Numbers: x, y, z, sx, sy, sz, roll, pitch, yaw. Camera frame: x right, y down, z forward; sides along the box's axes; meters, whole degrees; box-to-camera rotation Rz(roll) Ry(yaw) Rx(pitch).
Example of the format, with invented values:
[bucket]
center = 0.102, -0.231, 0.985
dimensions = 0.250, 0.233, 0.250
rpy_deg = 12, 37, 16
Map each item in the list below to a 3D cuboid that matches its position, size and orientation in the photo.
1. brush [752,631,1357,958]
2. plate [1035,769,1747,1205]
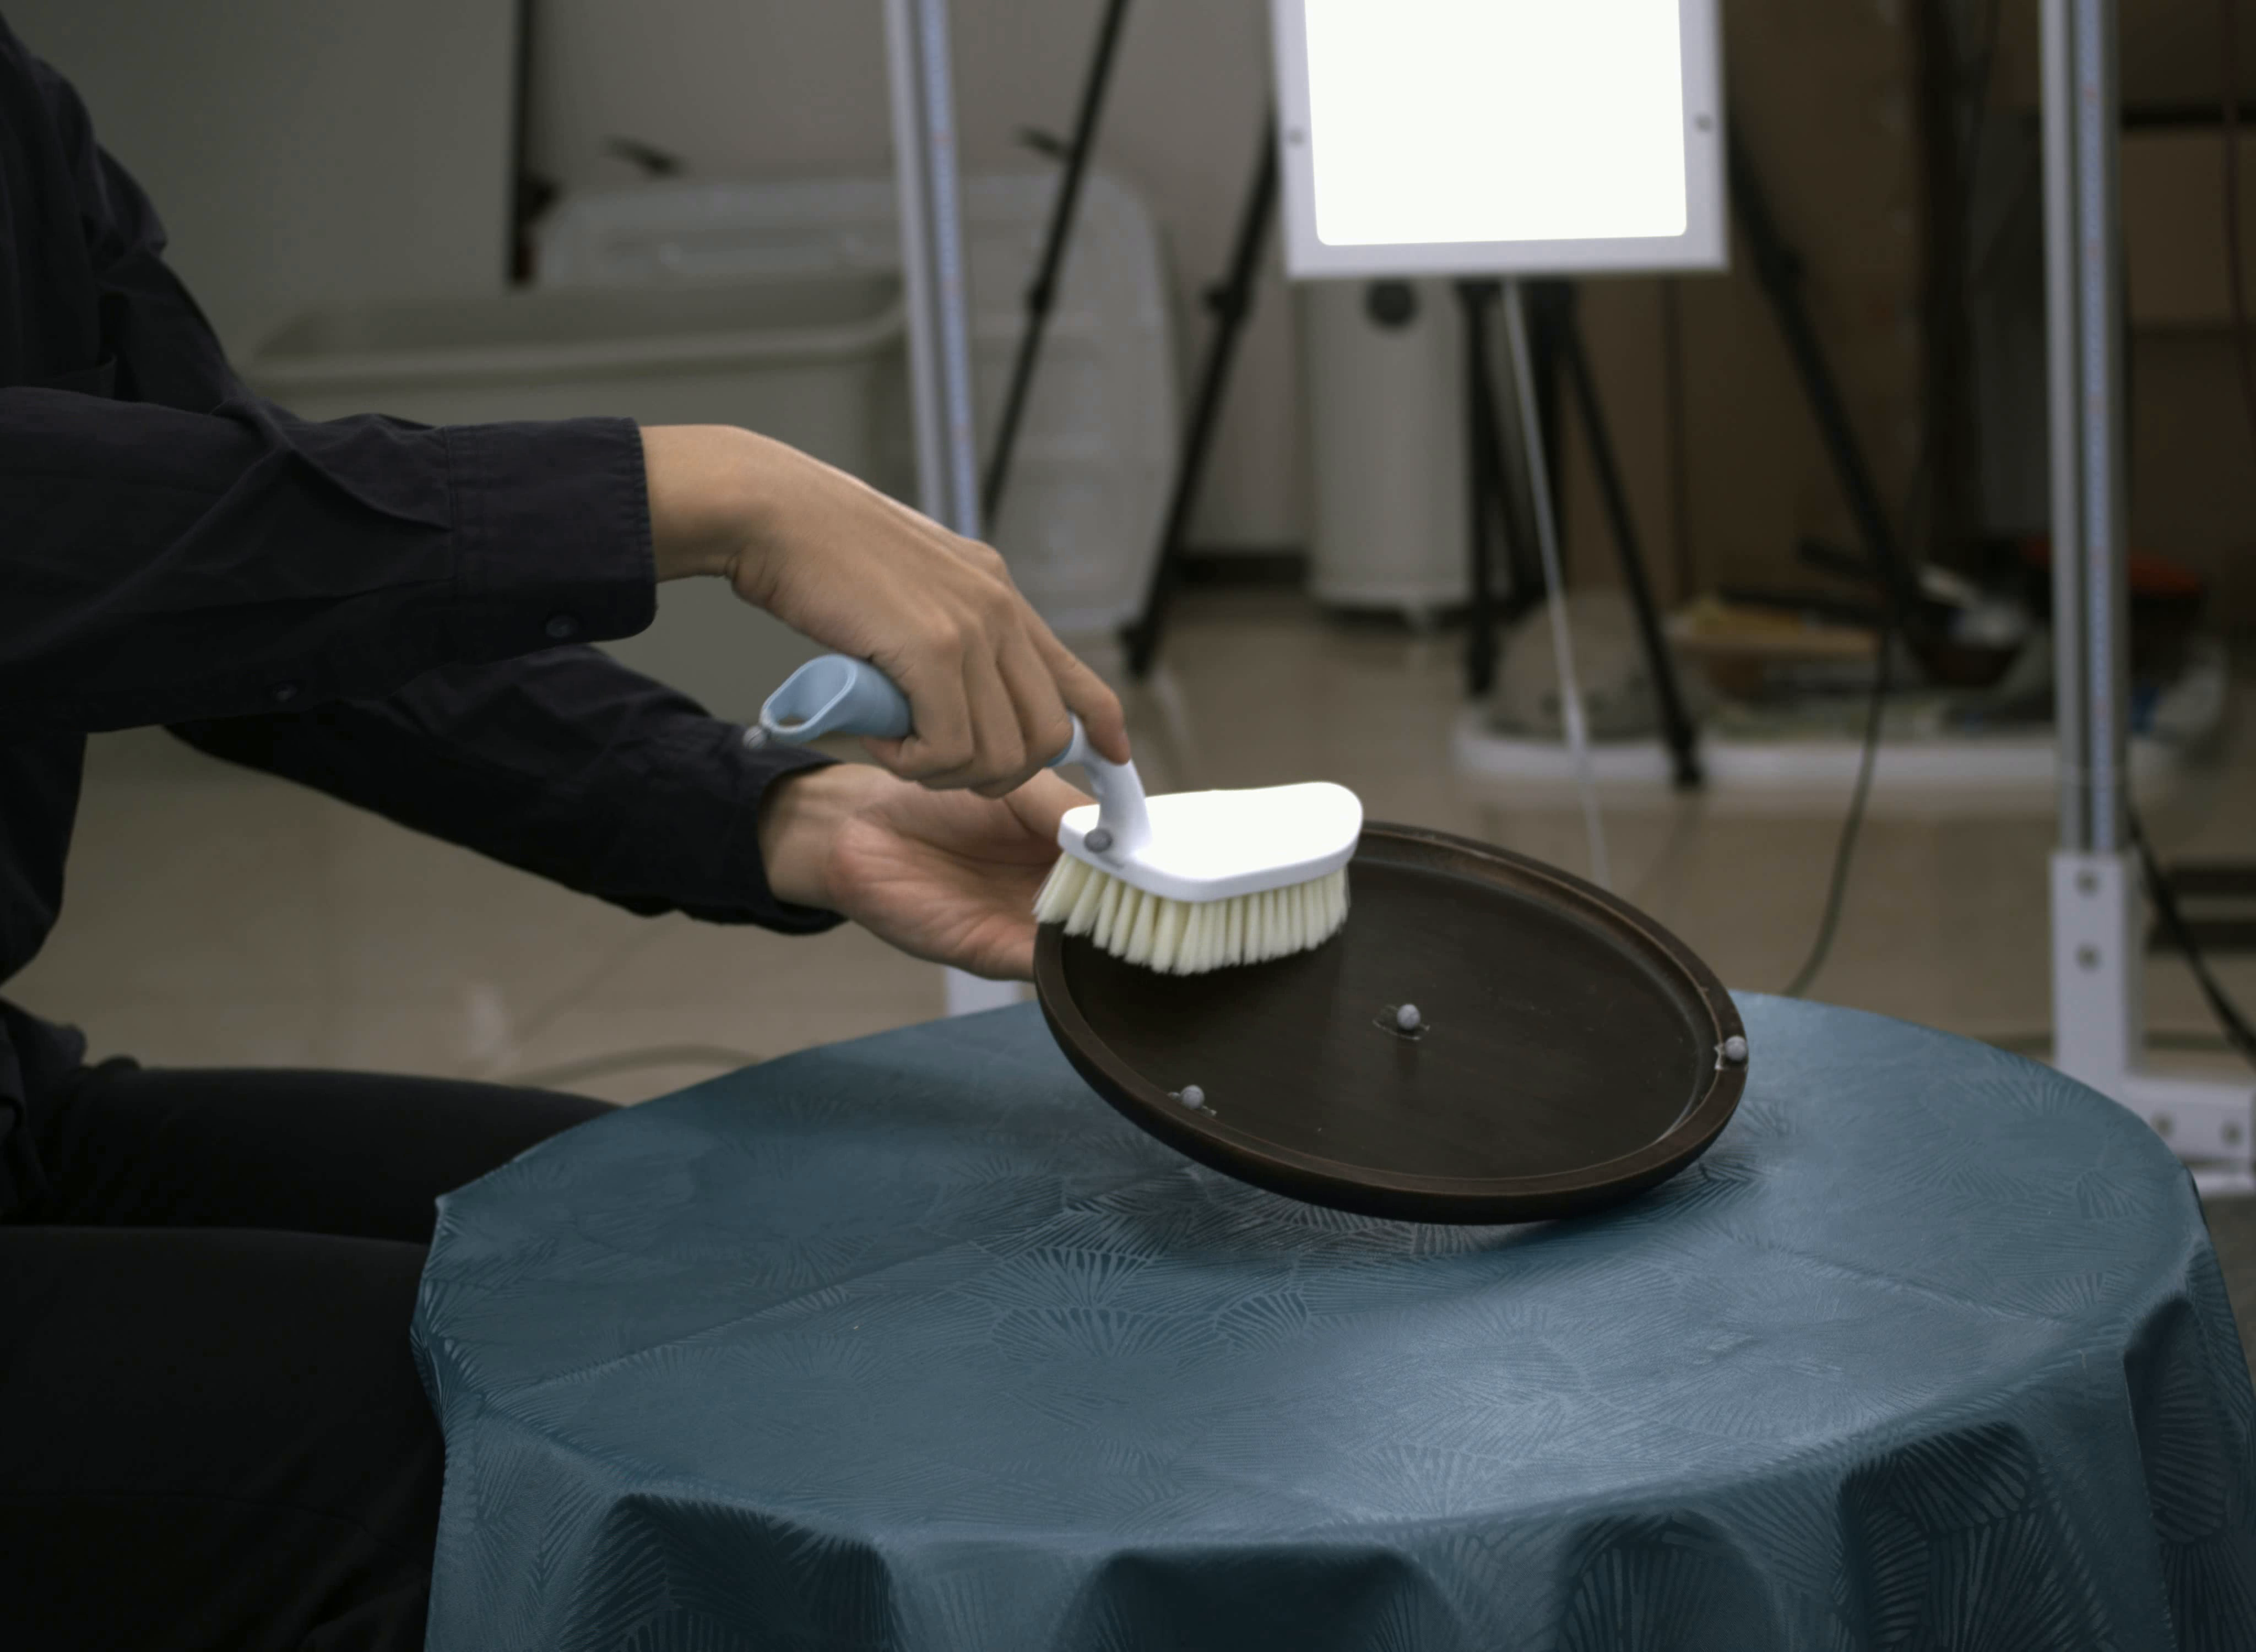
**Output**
[brush]
center = -0.031, 0.002, 1.855
dimensions = 0.085, 0.085, 0.318
rpy_deg = -19, -17, 34
[plate]
center = 0.092, 0.057, 1.923
dimensions = 0.253, 0.029, 0.254
rpy_deg = 5, 31, -4
